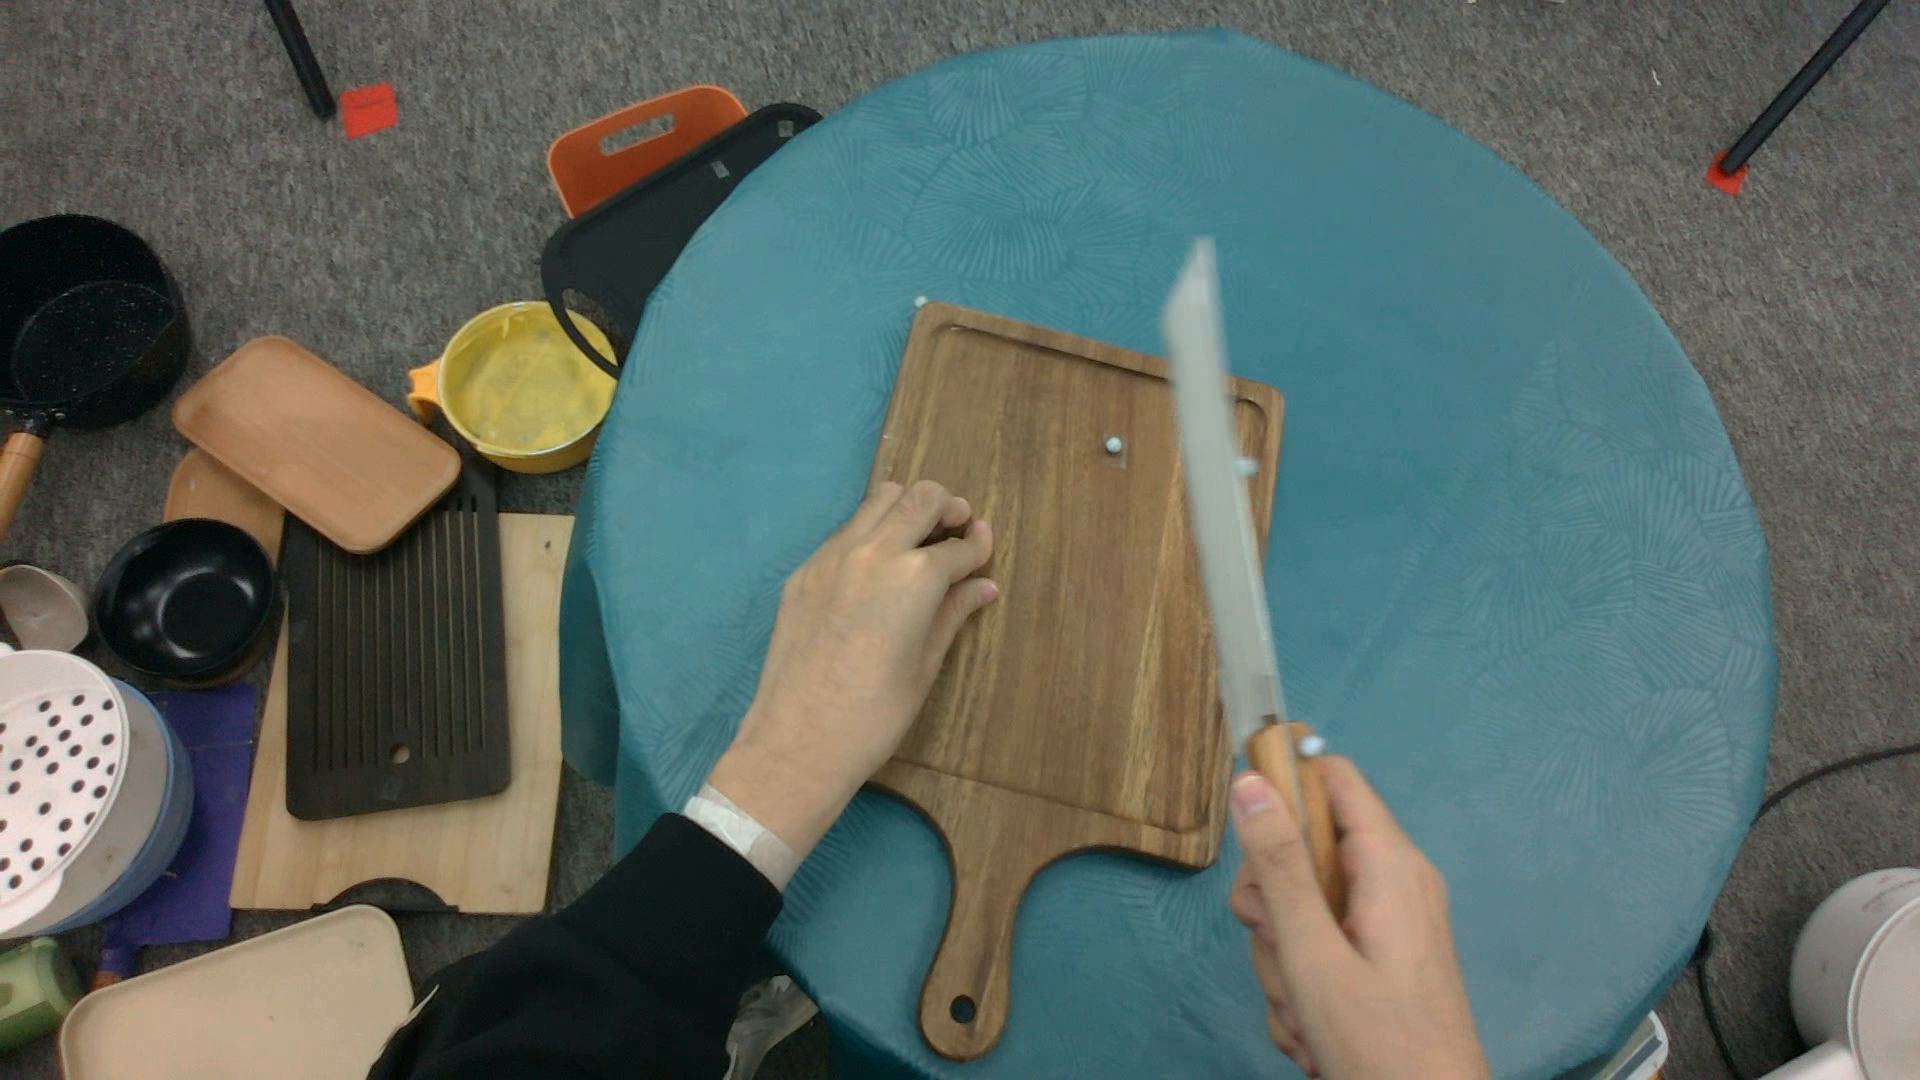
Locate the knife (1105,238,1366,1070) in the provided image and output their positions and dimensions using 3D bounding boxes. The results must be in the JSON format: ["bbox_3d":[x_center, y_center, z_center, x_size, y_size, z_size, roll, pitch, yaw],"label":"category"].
[{"bbox_3d":[0.095,0.037,0.524,0.021,0.093,0.306,-12,78,-3],"label":"knife"}]

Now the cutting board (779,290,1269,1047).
[{"bbox_3d":[0.028,0.053,0.645,0.201,0.023,0.353,14,69,0],"label":"cutting board"}]
